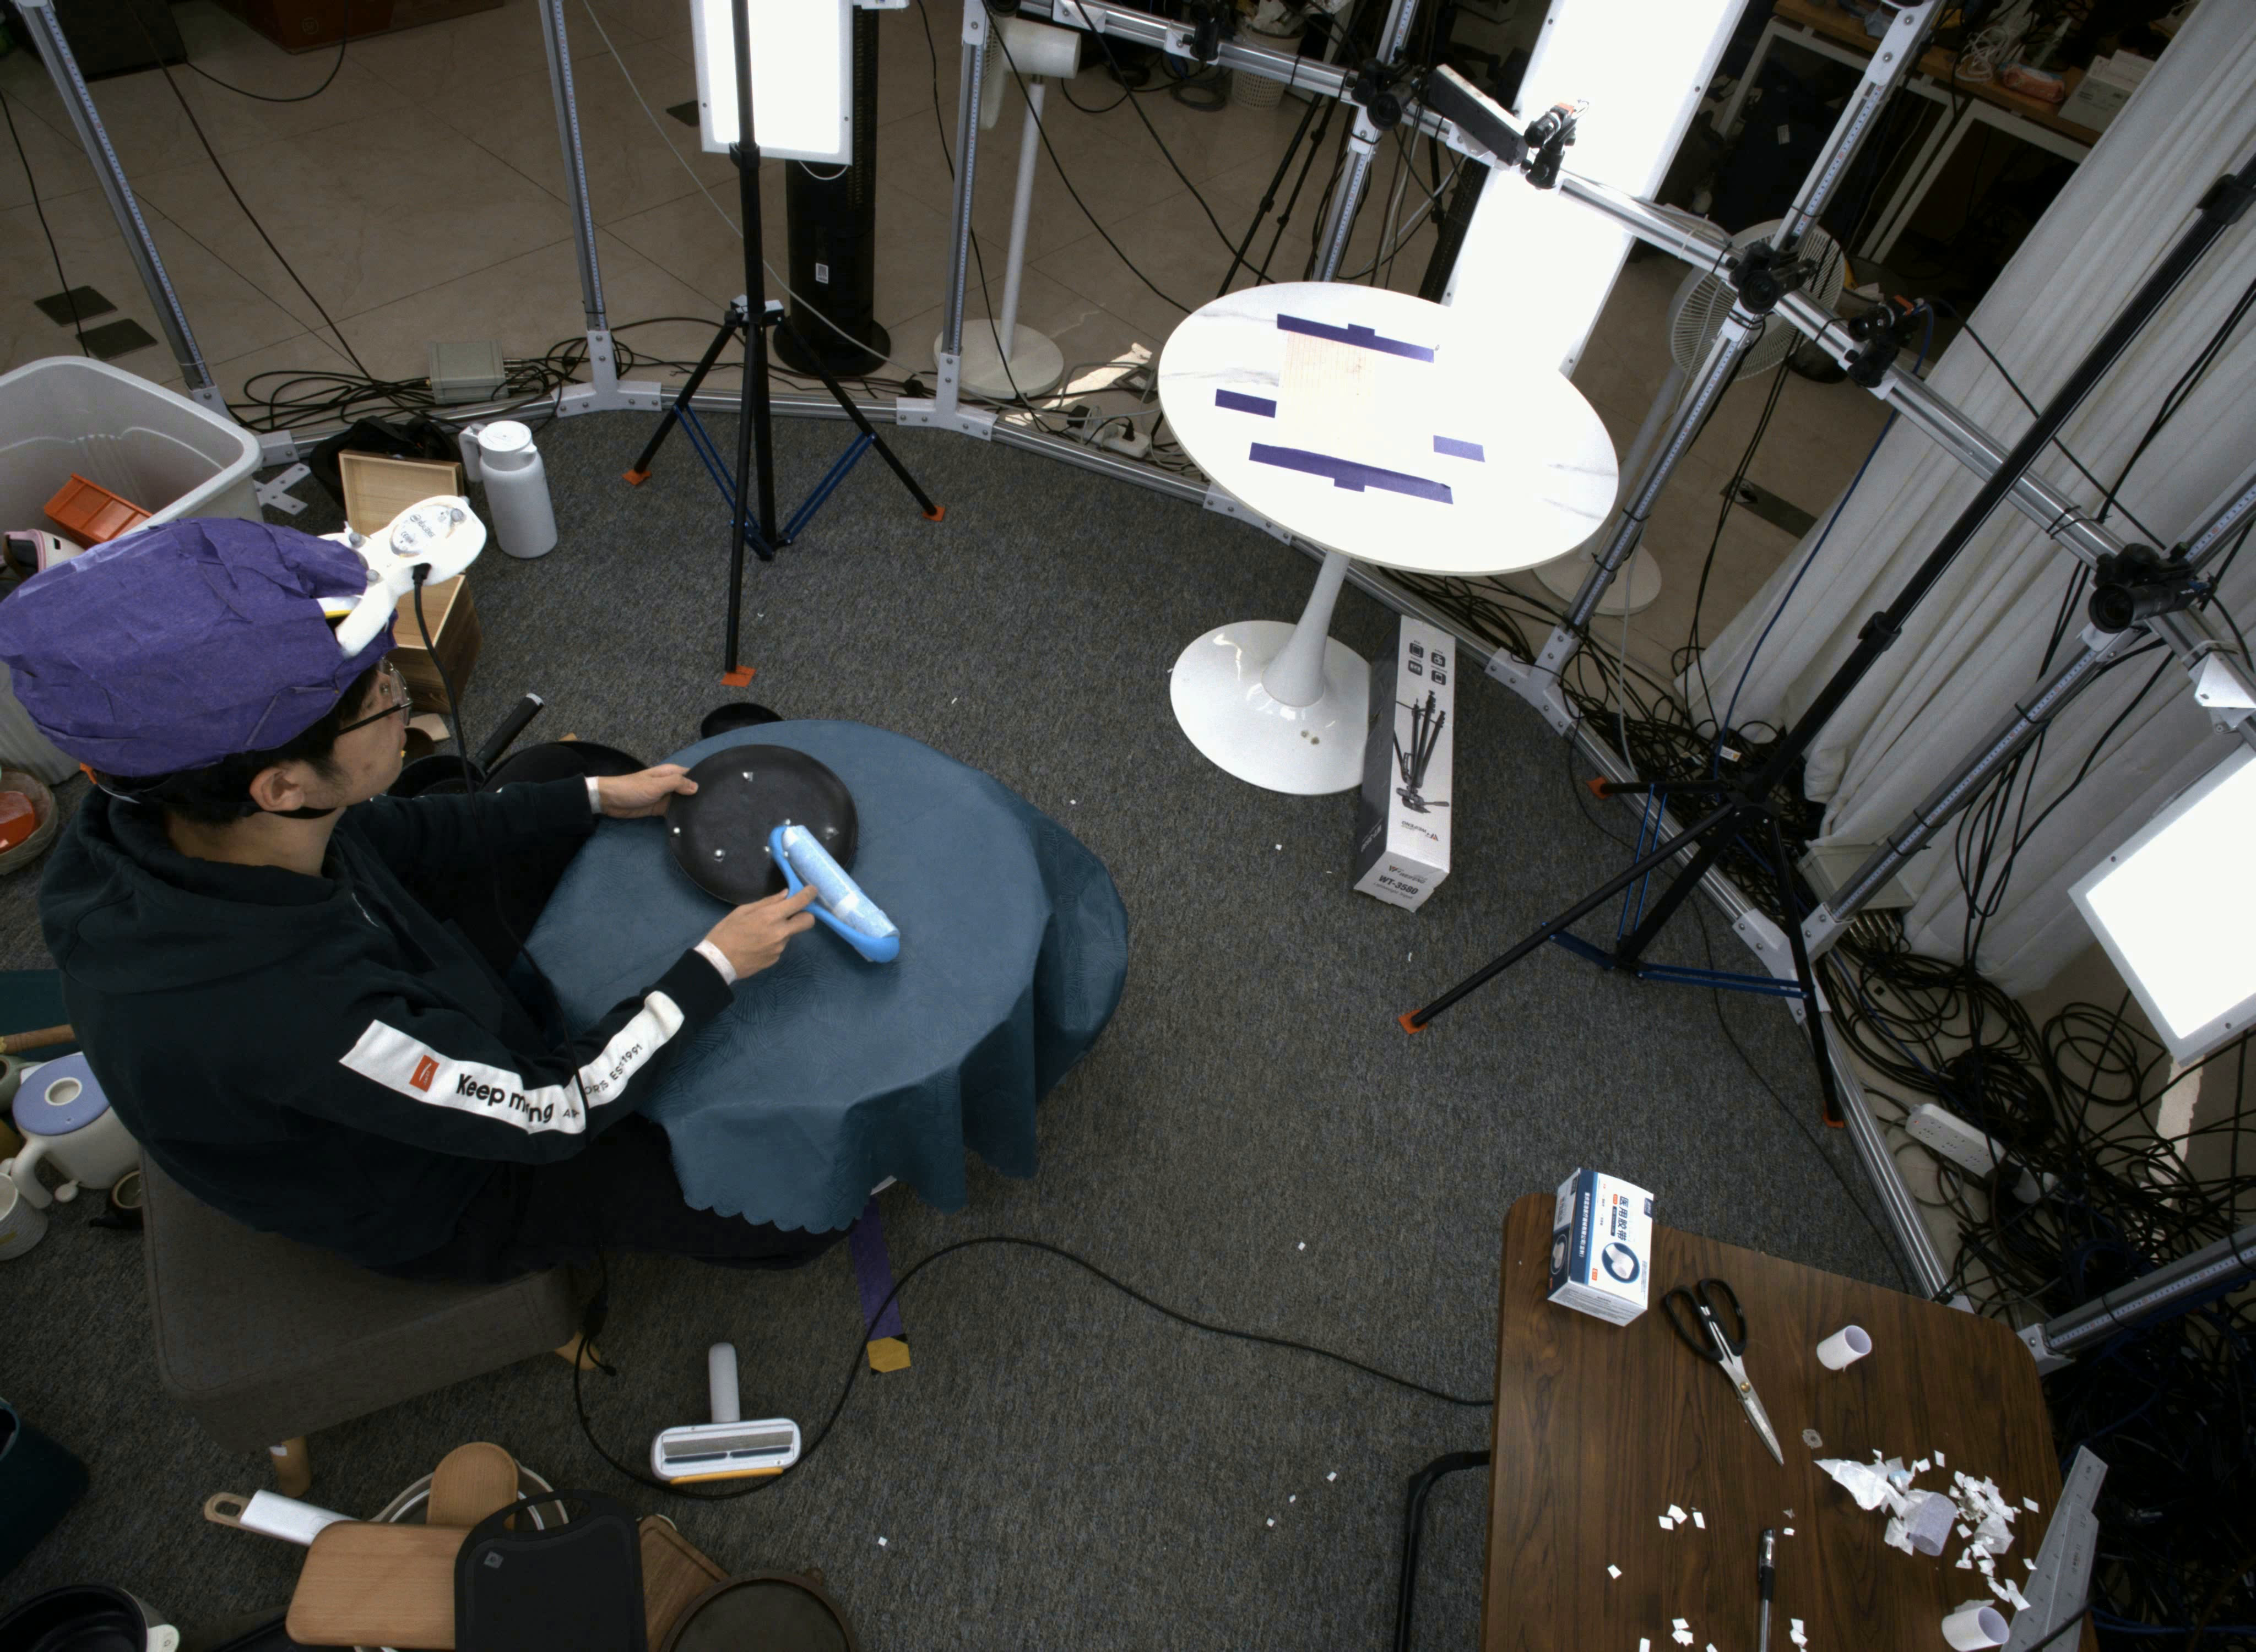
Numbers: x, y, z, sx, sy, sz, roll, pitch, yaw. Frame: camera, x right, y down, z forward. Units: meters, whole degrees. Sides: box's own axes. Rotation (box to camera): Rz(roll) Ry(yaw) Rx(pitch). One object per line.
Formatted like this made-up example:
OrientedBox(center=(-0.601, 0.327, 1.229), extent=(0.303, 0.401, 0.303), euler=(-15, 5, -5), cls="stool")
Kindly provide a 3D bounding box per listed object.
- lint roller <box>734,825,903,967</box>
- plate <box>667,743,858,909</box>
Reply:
OrientedBox(center=(-0.401, 0.107, 1.587), extent=(0.226, 0.068, 0.181), euler=(43, 49, 10), cls="lint roller")
OrientedBox(center=(-0.474, -0.001, 1.684), extent=(0.245, 0.023, 0.241), euler=(10, 60, -15), cls="plate")
